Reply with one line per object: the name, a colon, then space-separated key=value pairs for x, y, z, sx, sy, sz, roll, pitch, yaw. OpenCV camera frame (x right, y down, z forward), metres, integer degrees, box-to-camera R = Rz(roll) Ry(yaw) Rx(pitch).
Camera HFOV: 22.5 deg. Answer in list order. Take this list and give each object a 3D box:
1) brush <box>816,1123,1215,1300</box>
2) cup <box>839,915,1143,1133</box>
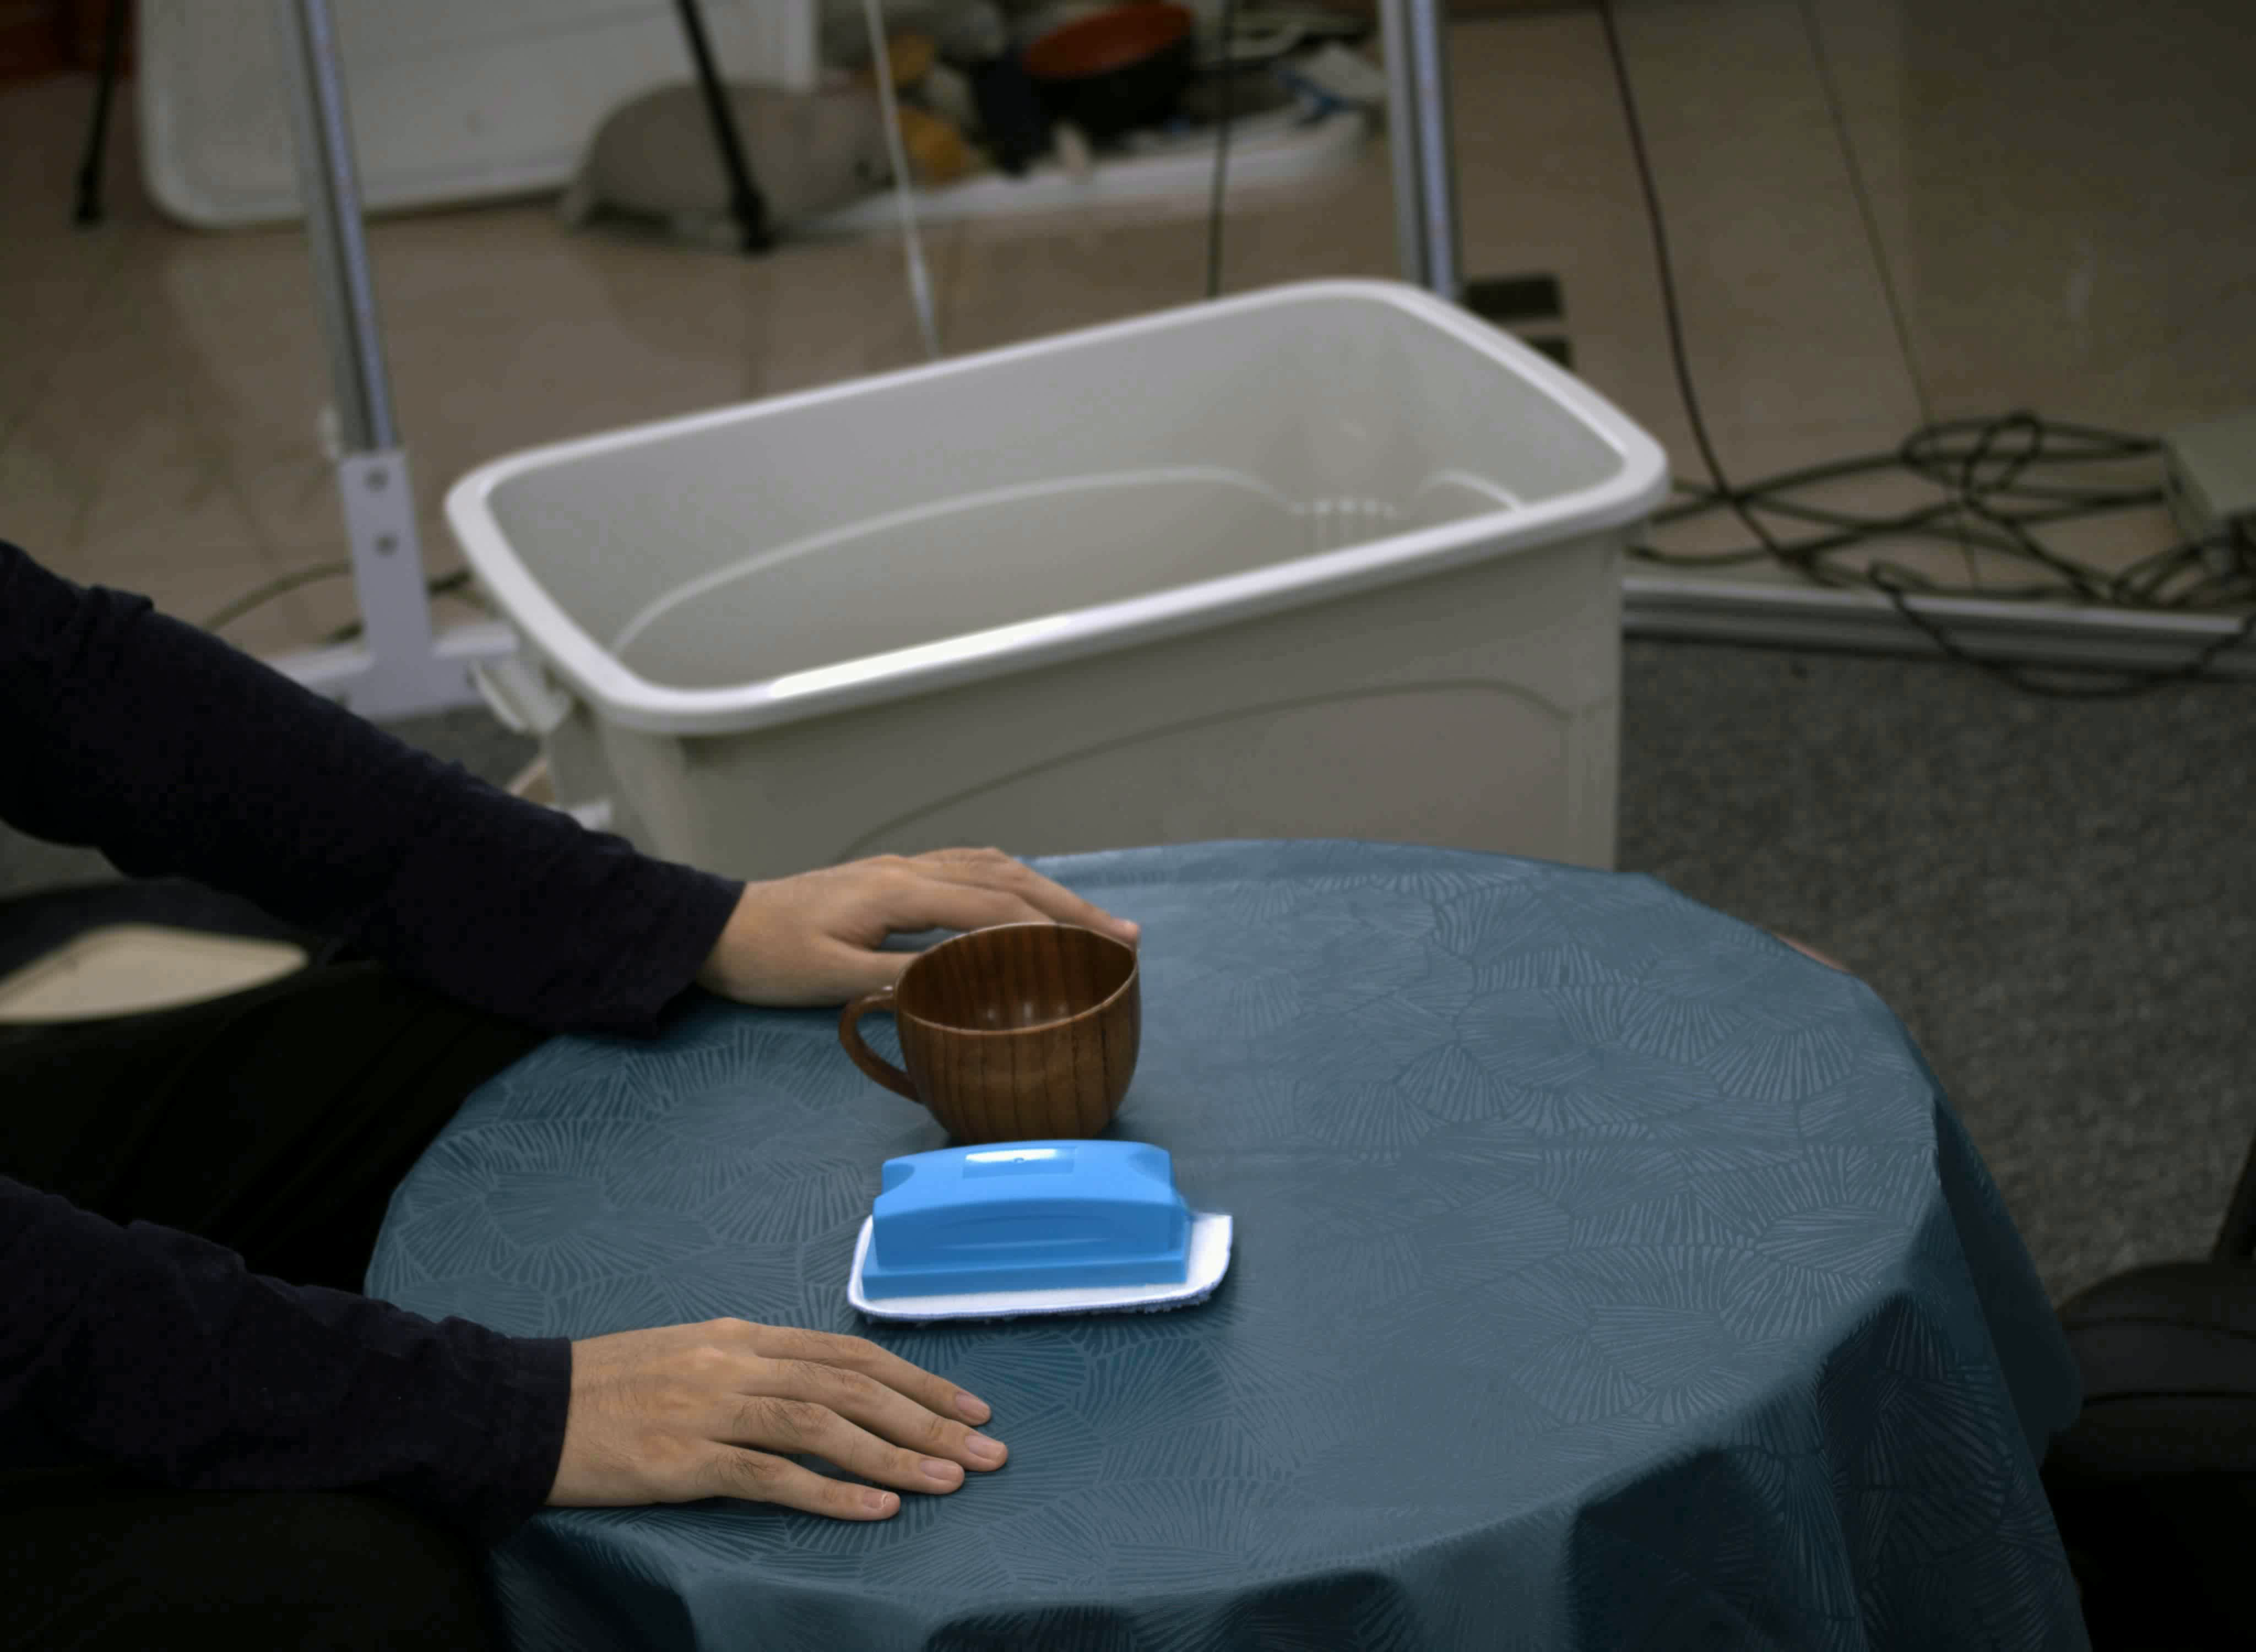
brush: x=-0.042 y=0.140 z=2.083 sx=0.143 sy=0.057 sz=0.083 roll=0 pitch=23 yaw=7
cup: x=-0.051 y=0.086 z=2.196 sx=0.119 sy=0.069 sz=0.094 roll=-6 pitch=29 yaw=7
